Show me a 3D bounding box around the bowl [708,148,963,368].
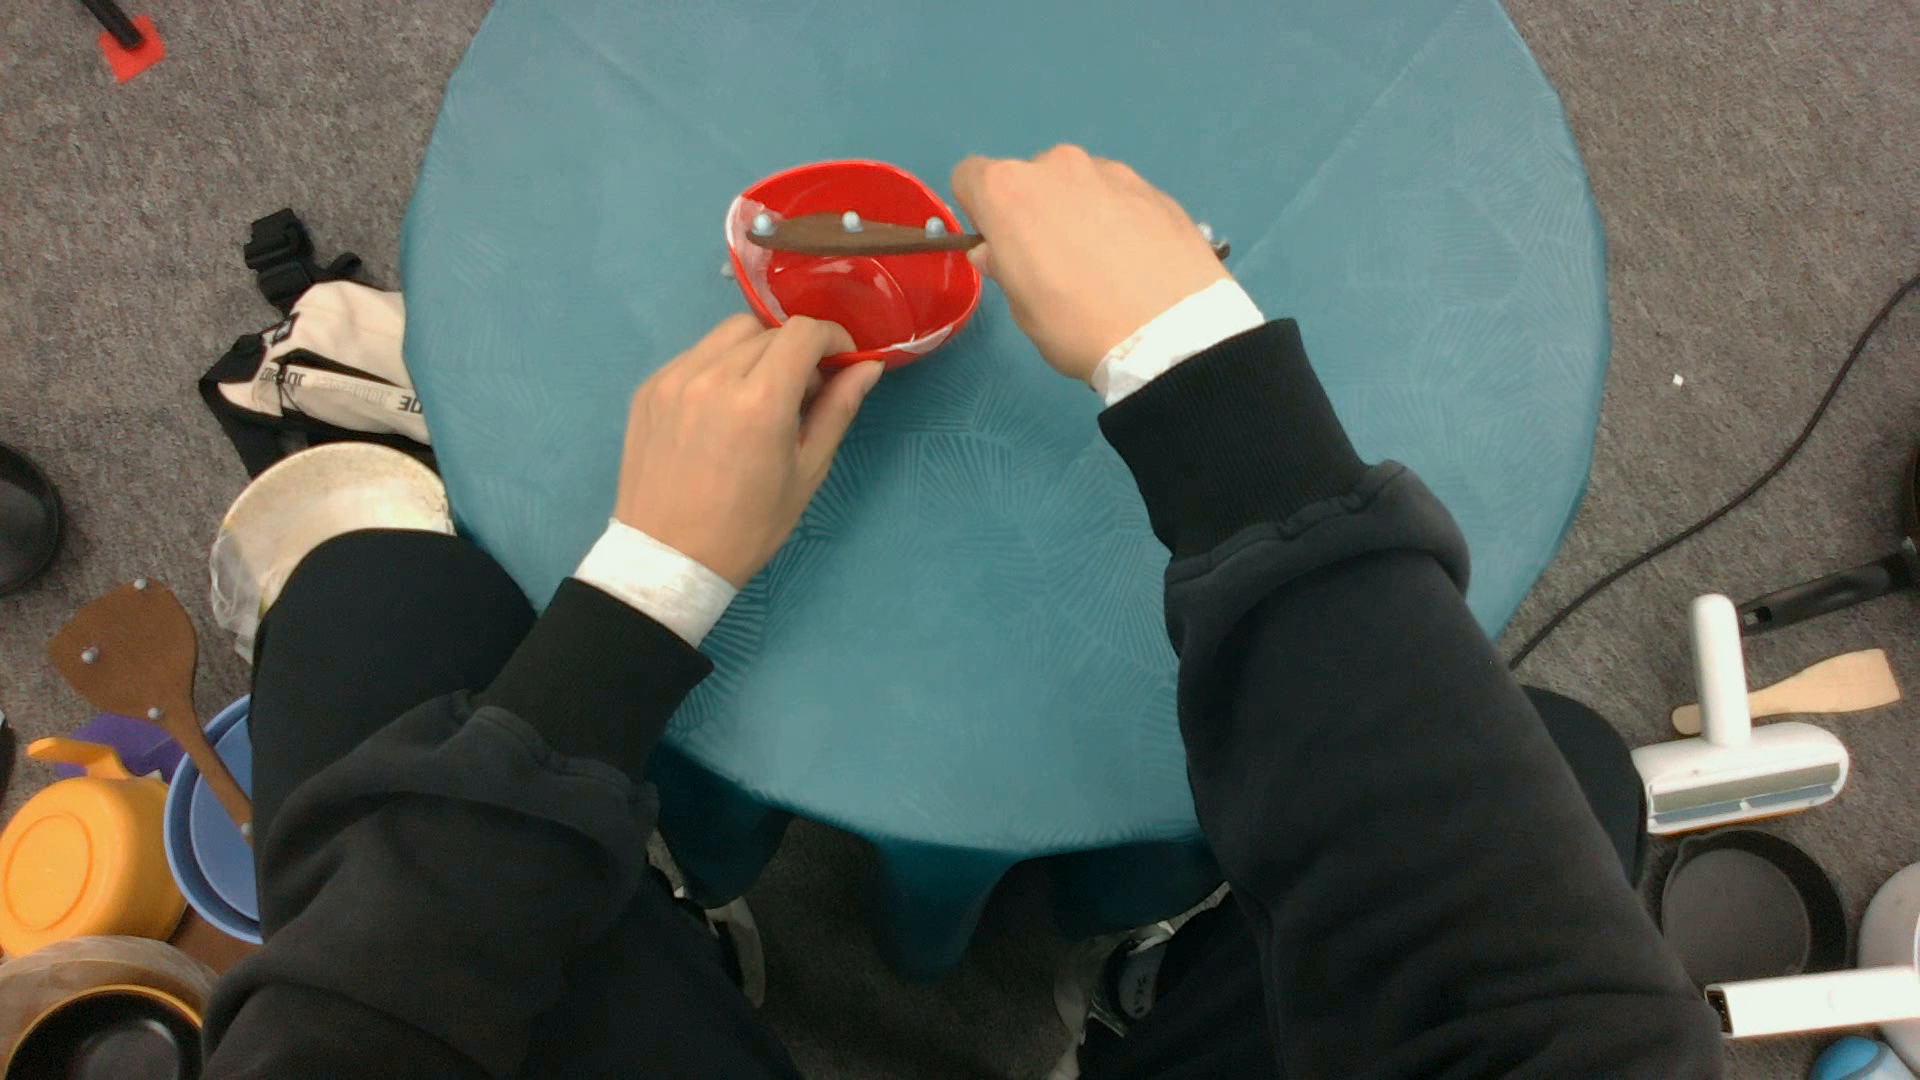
[{"bbox_3d":[-0.061,-0.123,0.642,0.119,0.051,0.119,8,58,-12],"label":"bowl"}]

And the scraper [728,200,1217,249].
[{"bbox_3d":[0.004,-0.131,0.578,0.211,0.076,0.011,9,112,26],"label":"scraper"}]
